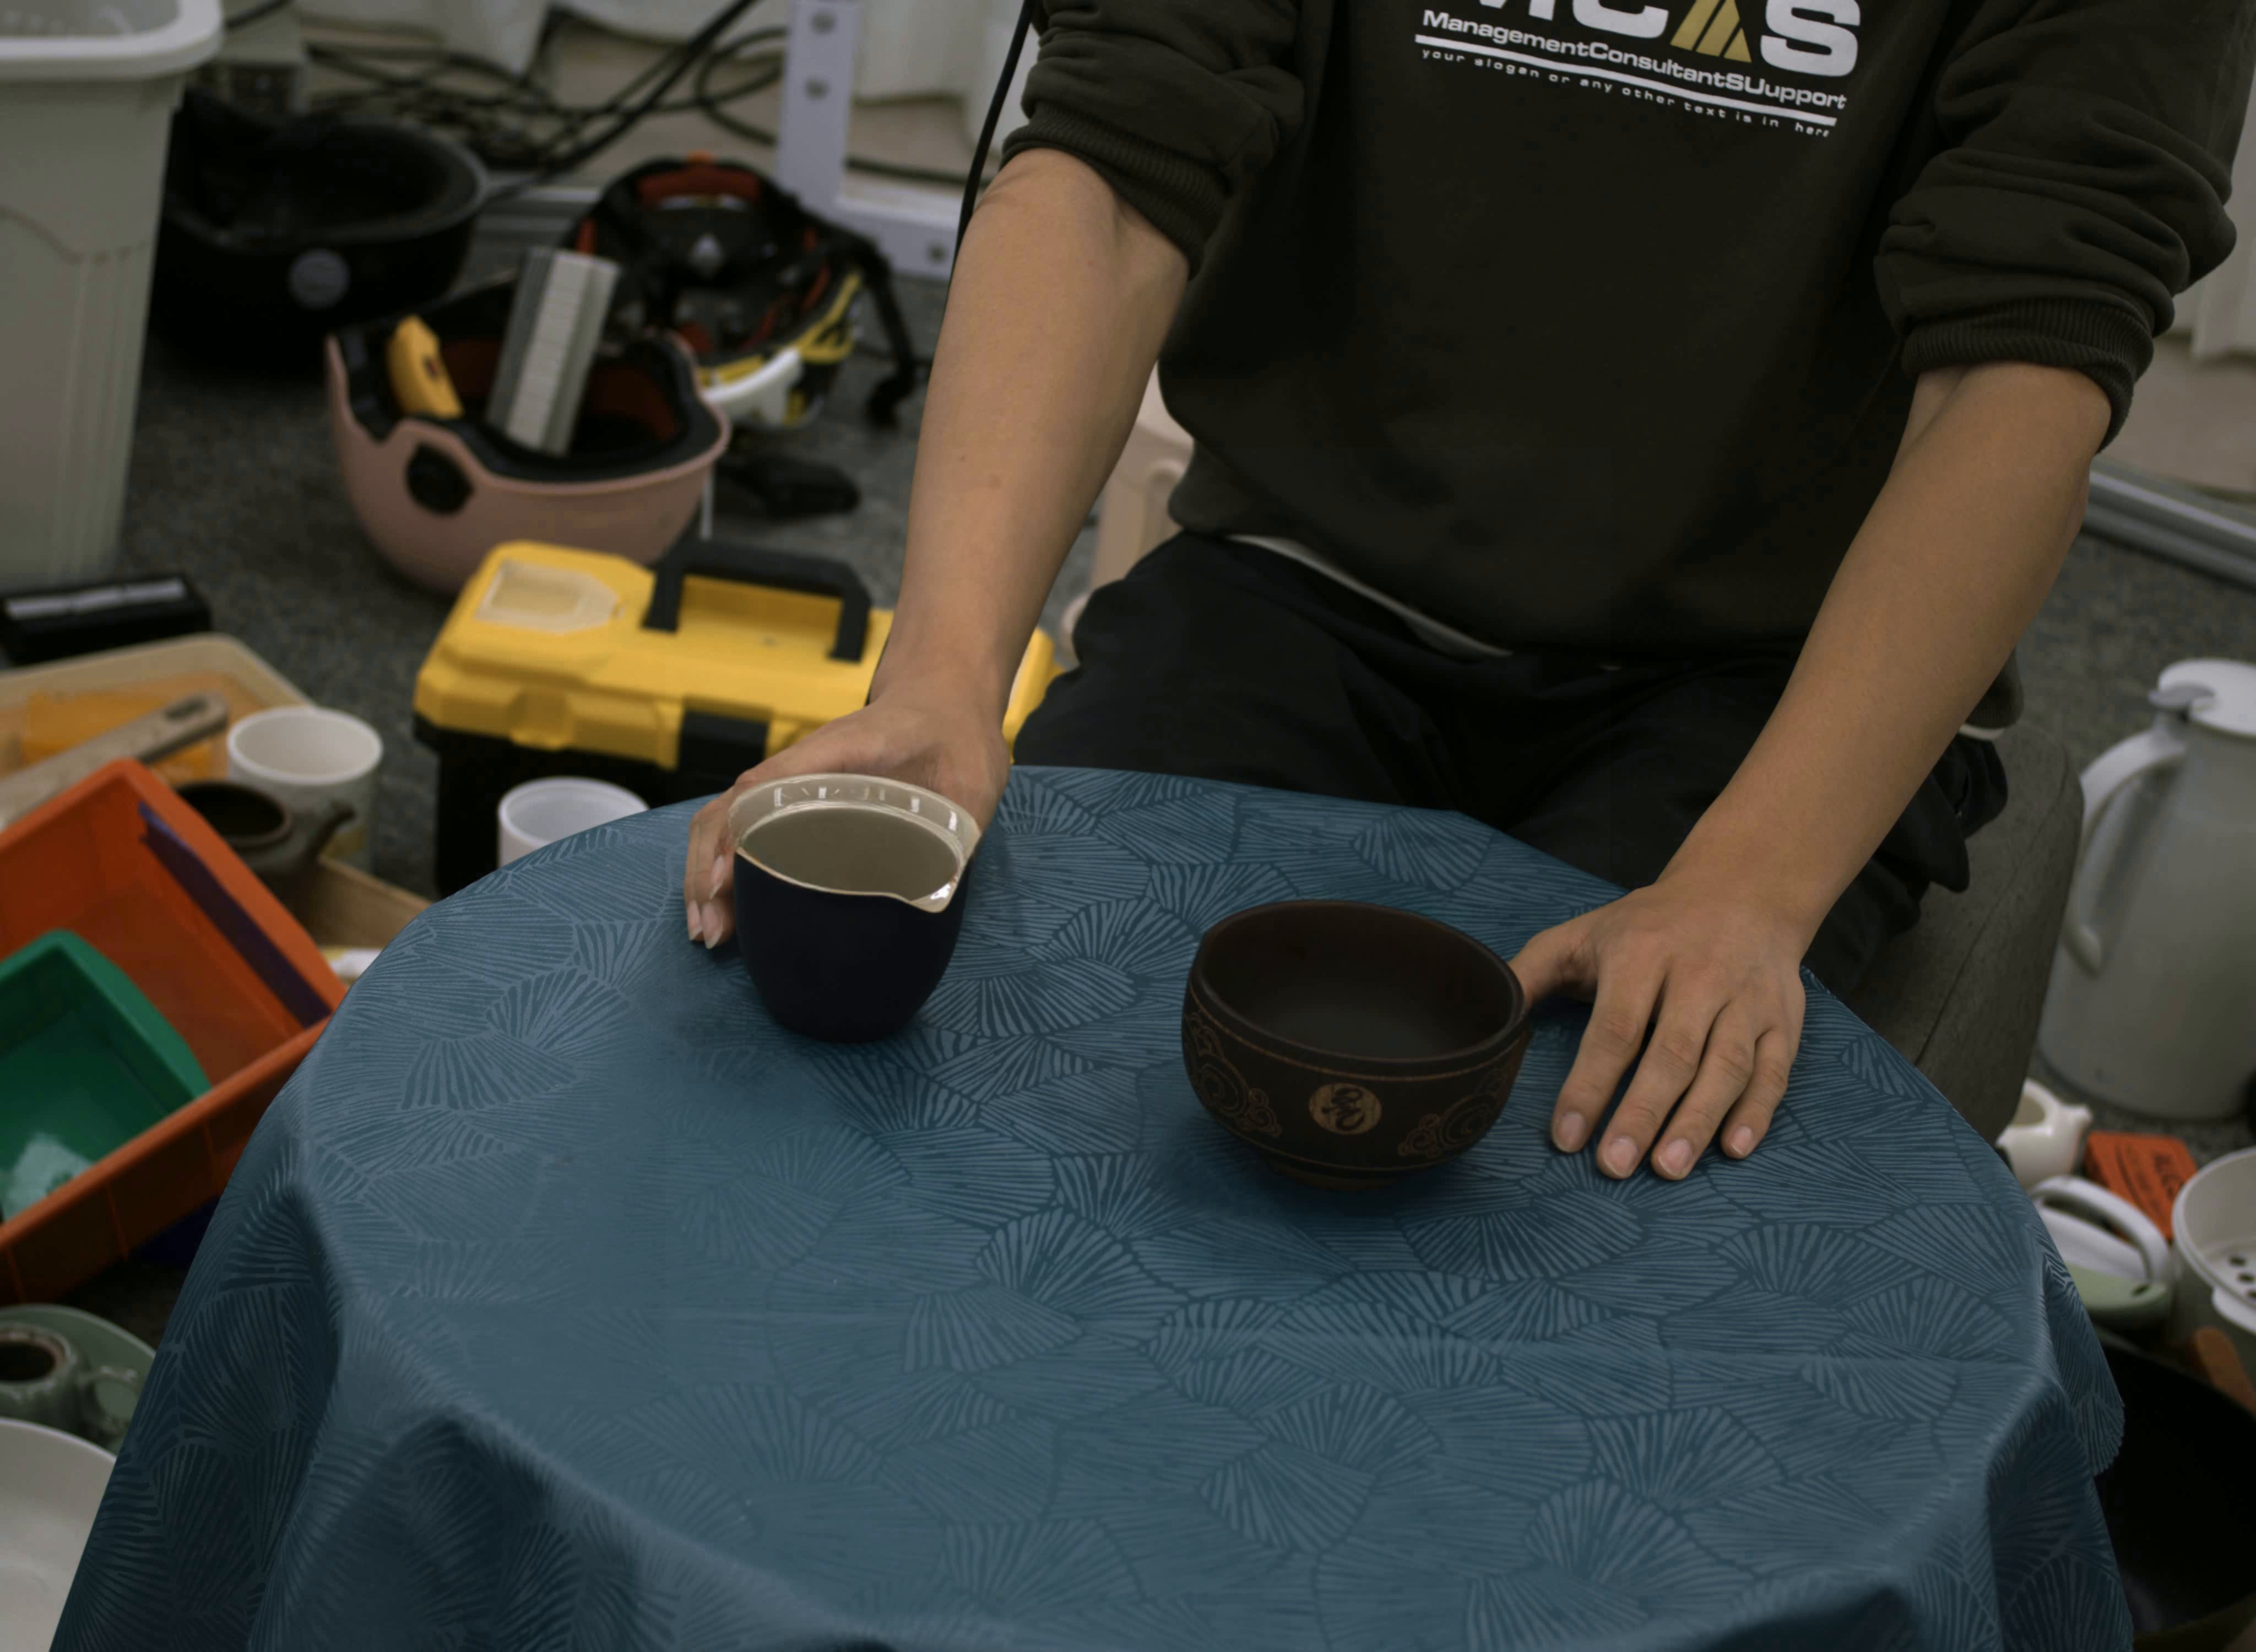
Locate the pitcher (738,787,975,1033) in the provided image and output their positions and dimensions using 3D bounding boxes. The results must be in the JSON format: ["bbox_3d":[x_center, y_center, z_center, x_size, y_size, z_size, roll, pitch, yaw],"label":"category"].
[{"bbox_3d":[-0.096,0.033,1.880,0.083,0.071,0.097,-6,28,-28],"label":"pitcher"}]

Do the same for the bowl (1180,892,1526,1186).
[{"bbox_3d":[0.075,0.080,1.831,0.117,0.069,0.119,4,28,-3],"label":"bowl"}]
